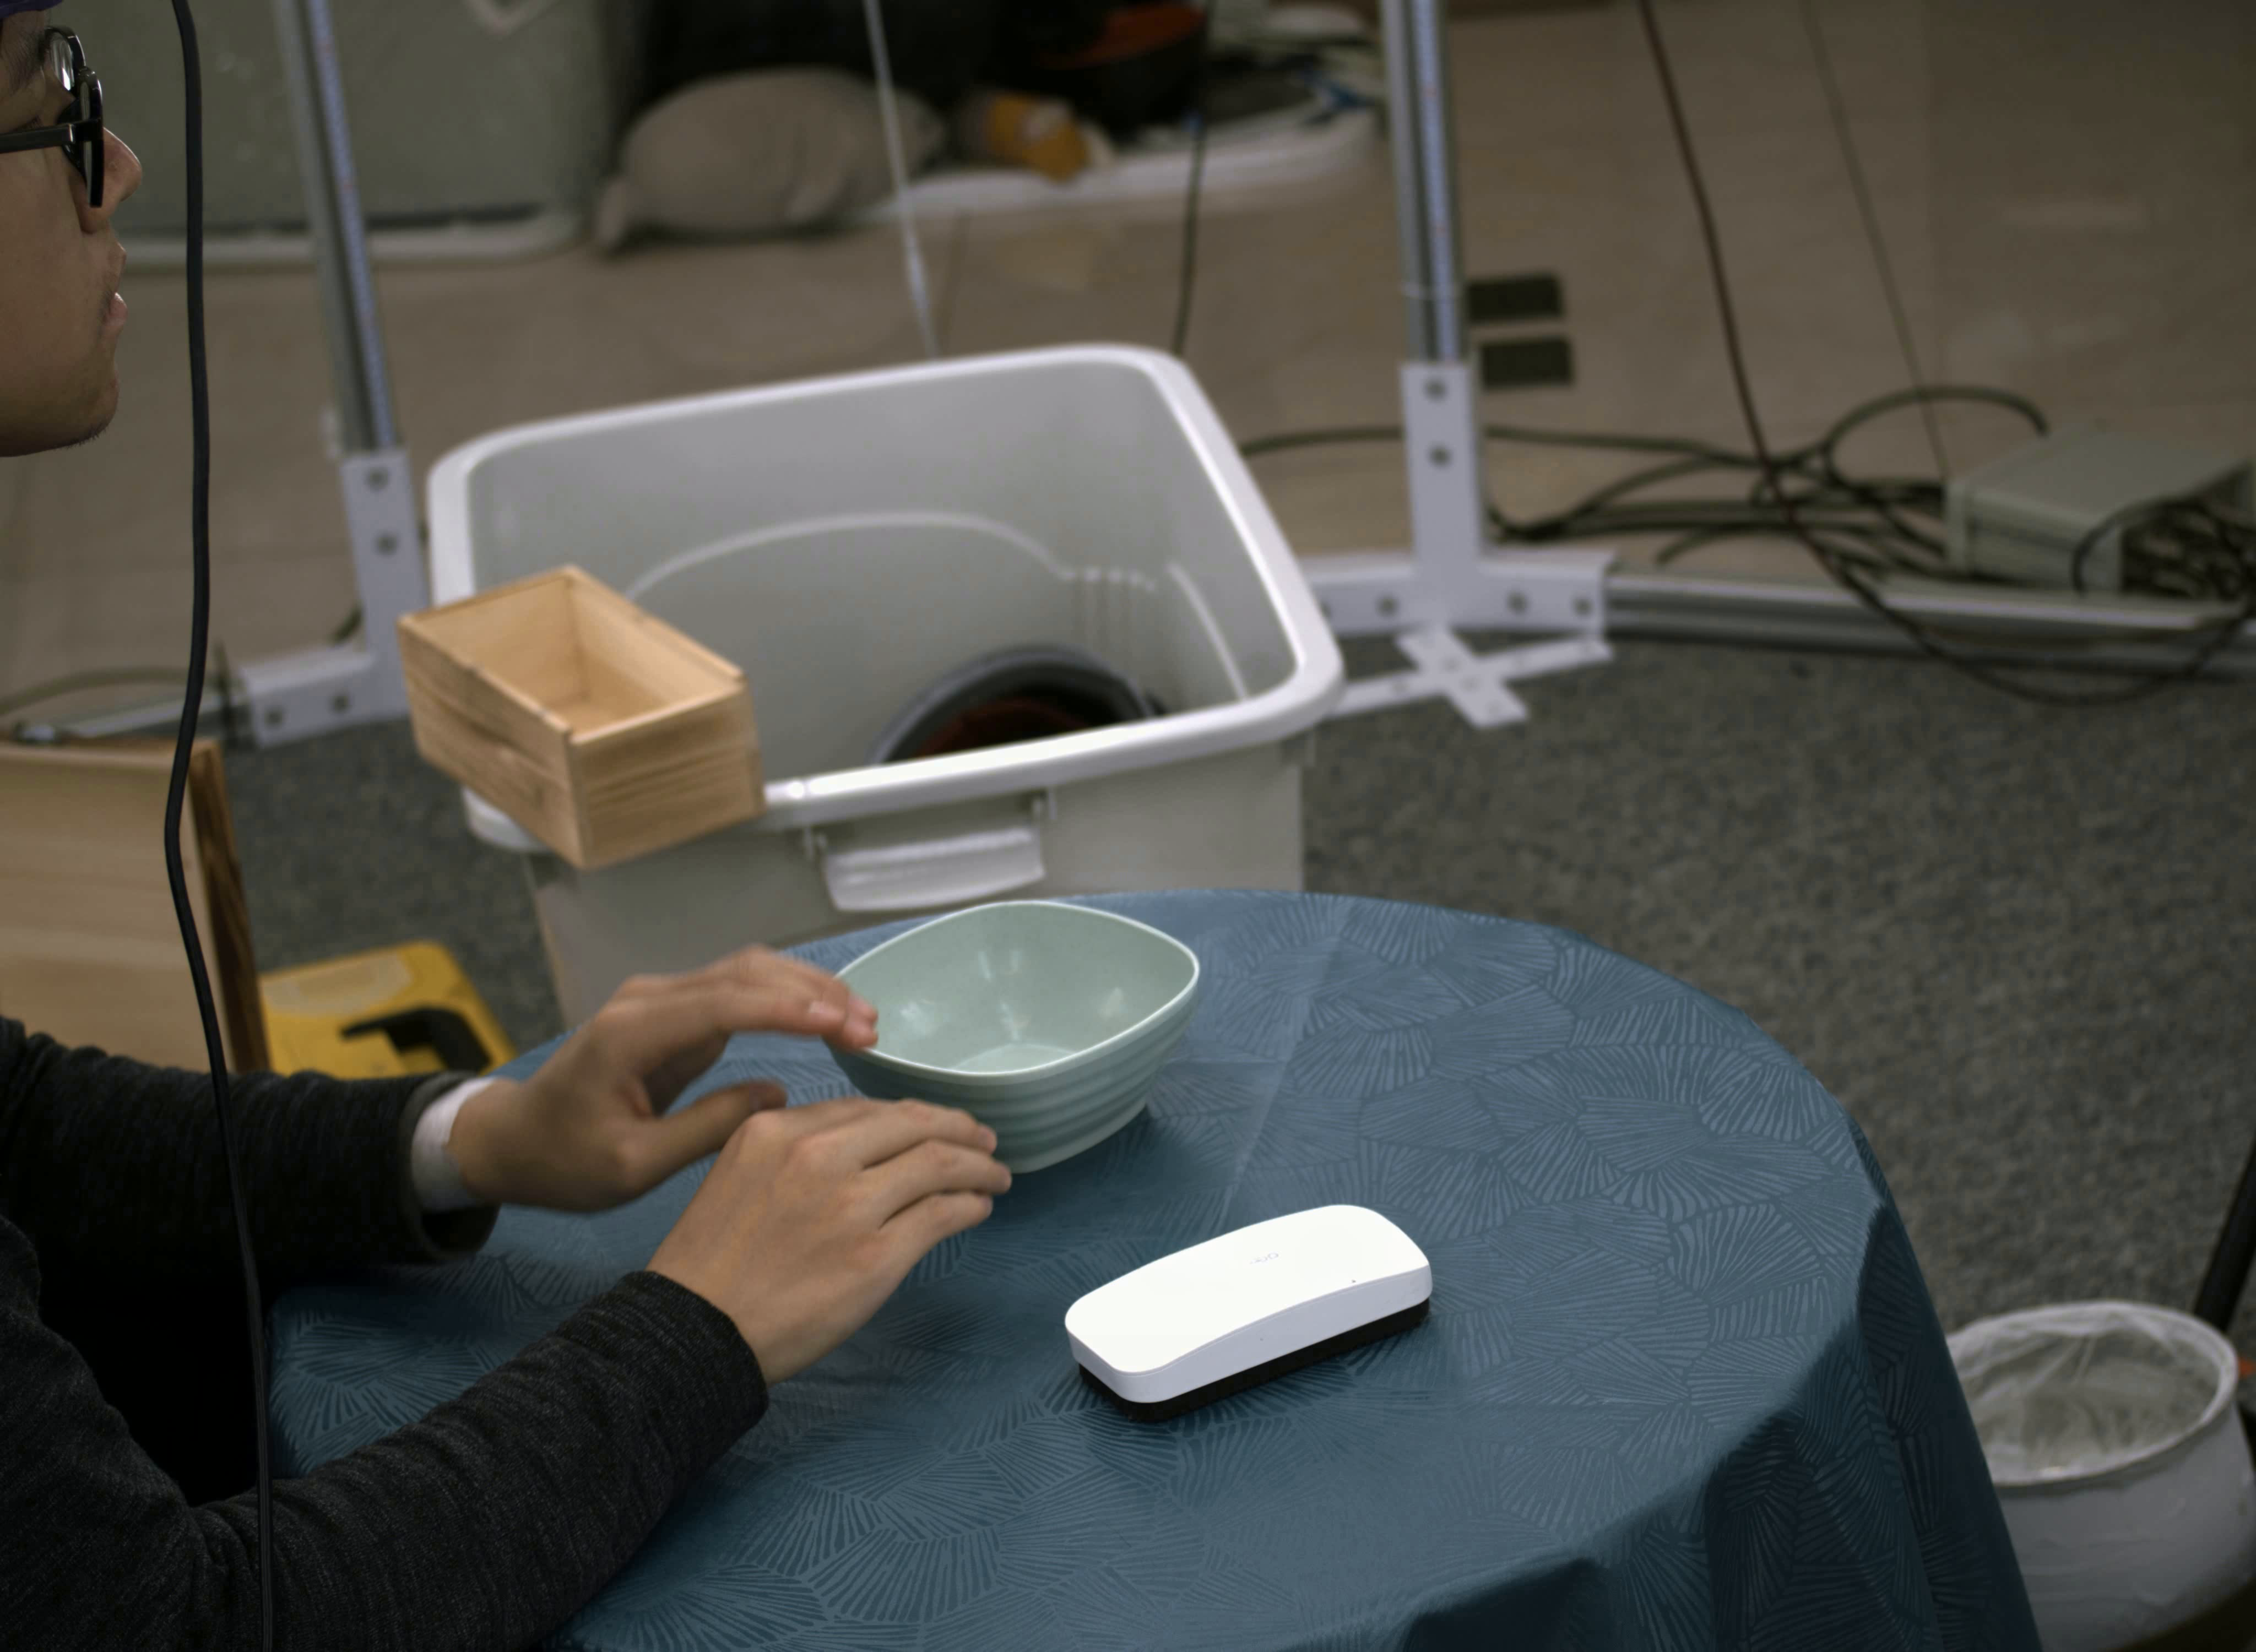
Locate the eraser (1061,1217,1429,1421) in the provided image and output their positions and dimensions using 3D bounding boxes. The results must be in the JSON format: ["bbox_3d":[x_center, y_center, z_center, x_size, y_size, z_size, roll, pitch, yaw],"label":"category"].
[{"bbox_3d":[0.042,0.172,2.029,0.130,0.035,0.063,-17,25,-24],"label":"eraser"}]

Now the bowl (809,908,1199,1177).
[{"bbox_3d":[-0.046,0.089,2.201,0.151,0.059,0.149,-4,24,2],"label":"bowl"}]
